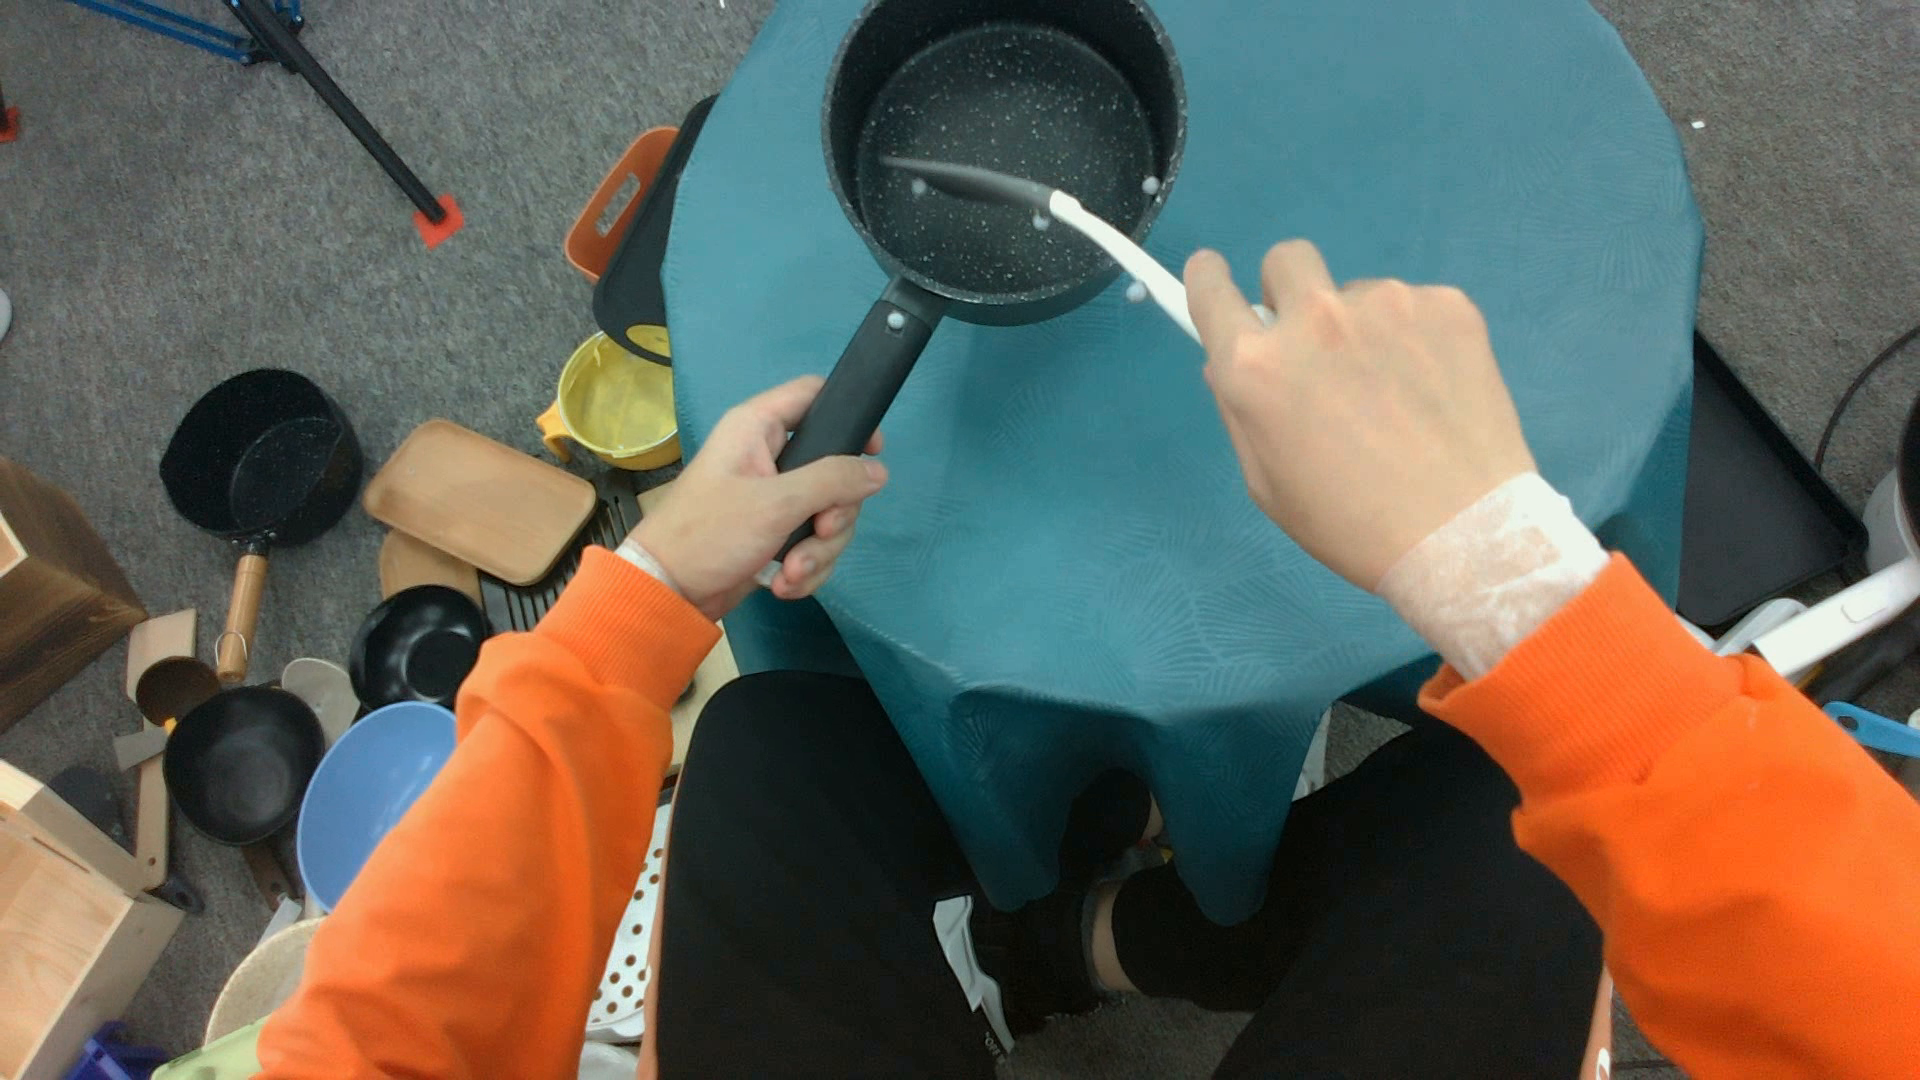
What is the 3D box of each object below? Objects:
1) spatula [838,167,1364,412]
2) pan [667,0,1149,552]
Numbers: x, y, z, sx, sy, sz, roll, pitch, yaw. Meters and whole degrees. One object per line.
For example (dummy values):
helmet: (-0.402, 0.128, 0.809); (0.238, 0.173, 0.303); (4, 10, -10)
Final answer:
spatula: (0.047, -0.122, 0.580); (0.288, 0.059, 0.032); (36, 116, 42)
pan: (-0.036, -0.137, 0.673); (0.172, 0.086, 0.329); (30, 85, 3)
